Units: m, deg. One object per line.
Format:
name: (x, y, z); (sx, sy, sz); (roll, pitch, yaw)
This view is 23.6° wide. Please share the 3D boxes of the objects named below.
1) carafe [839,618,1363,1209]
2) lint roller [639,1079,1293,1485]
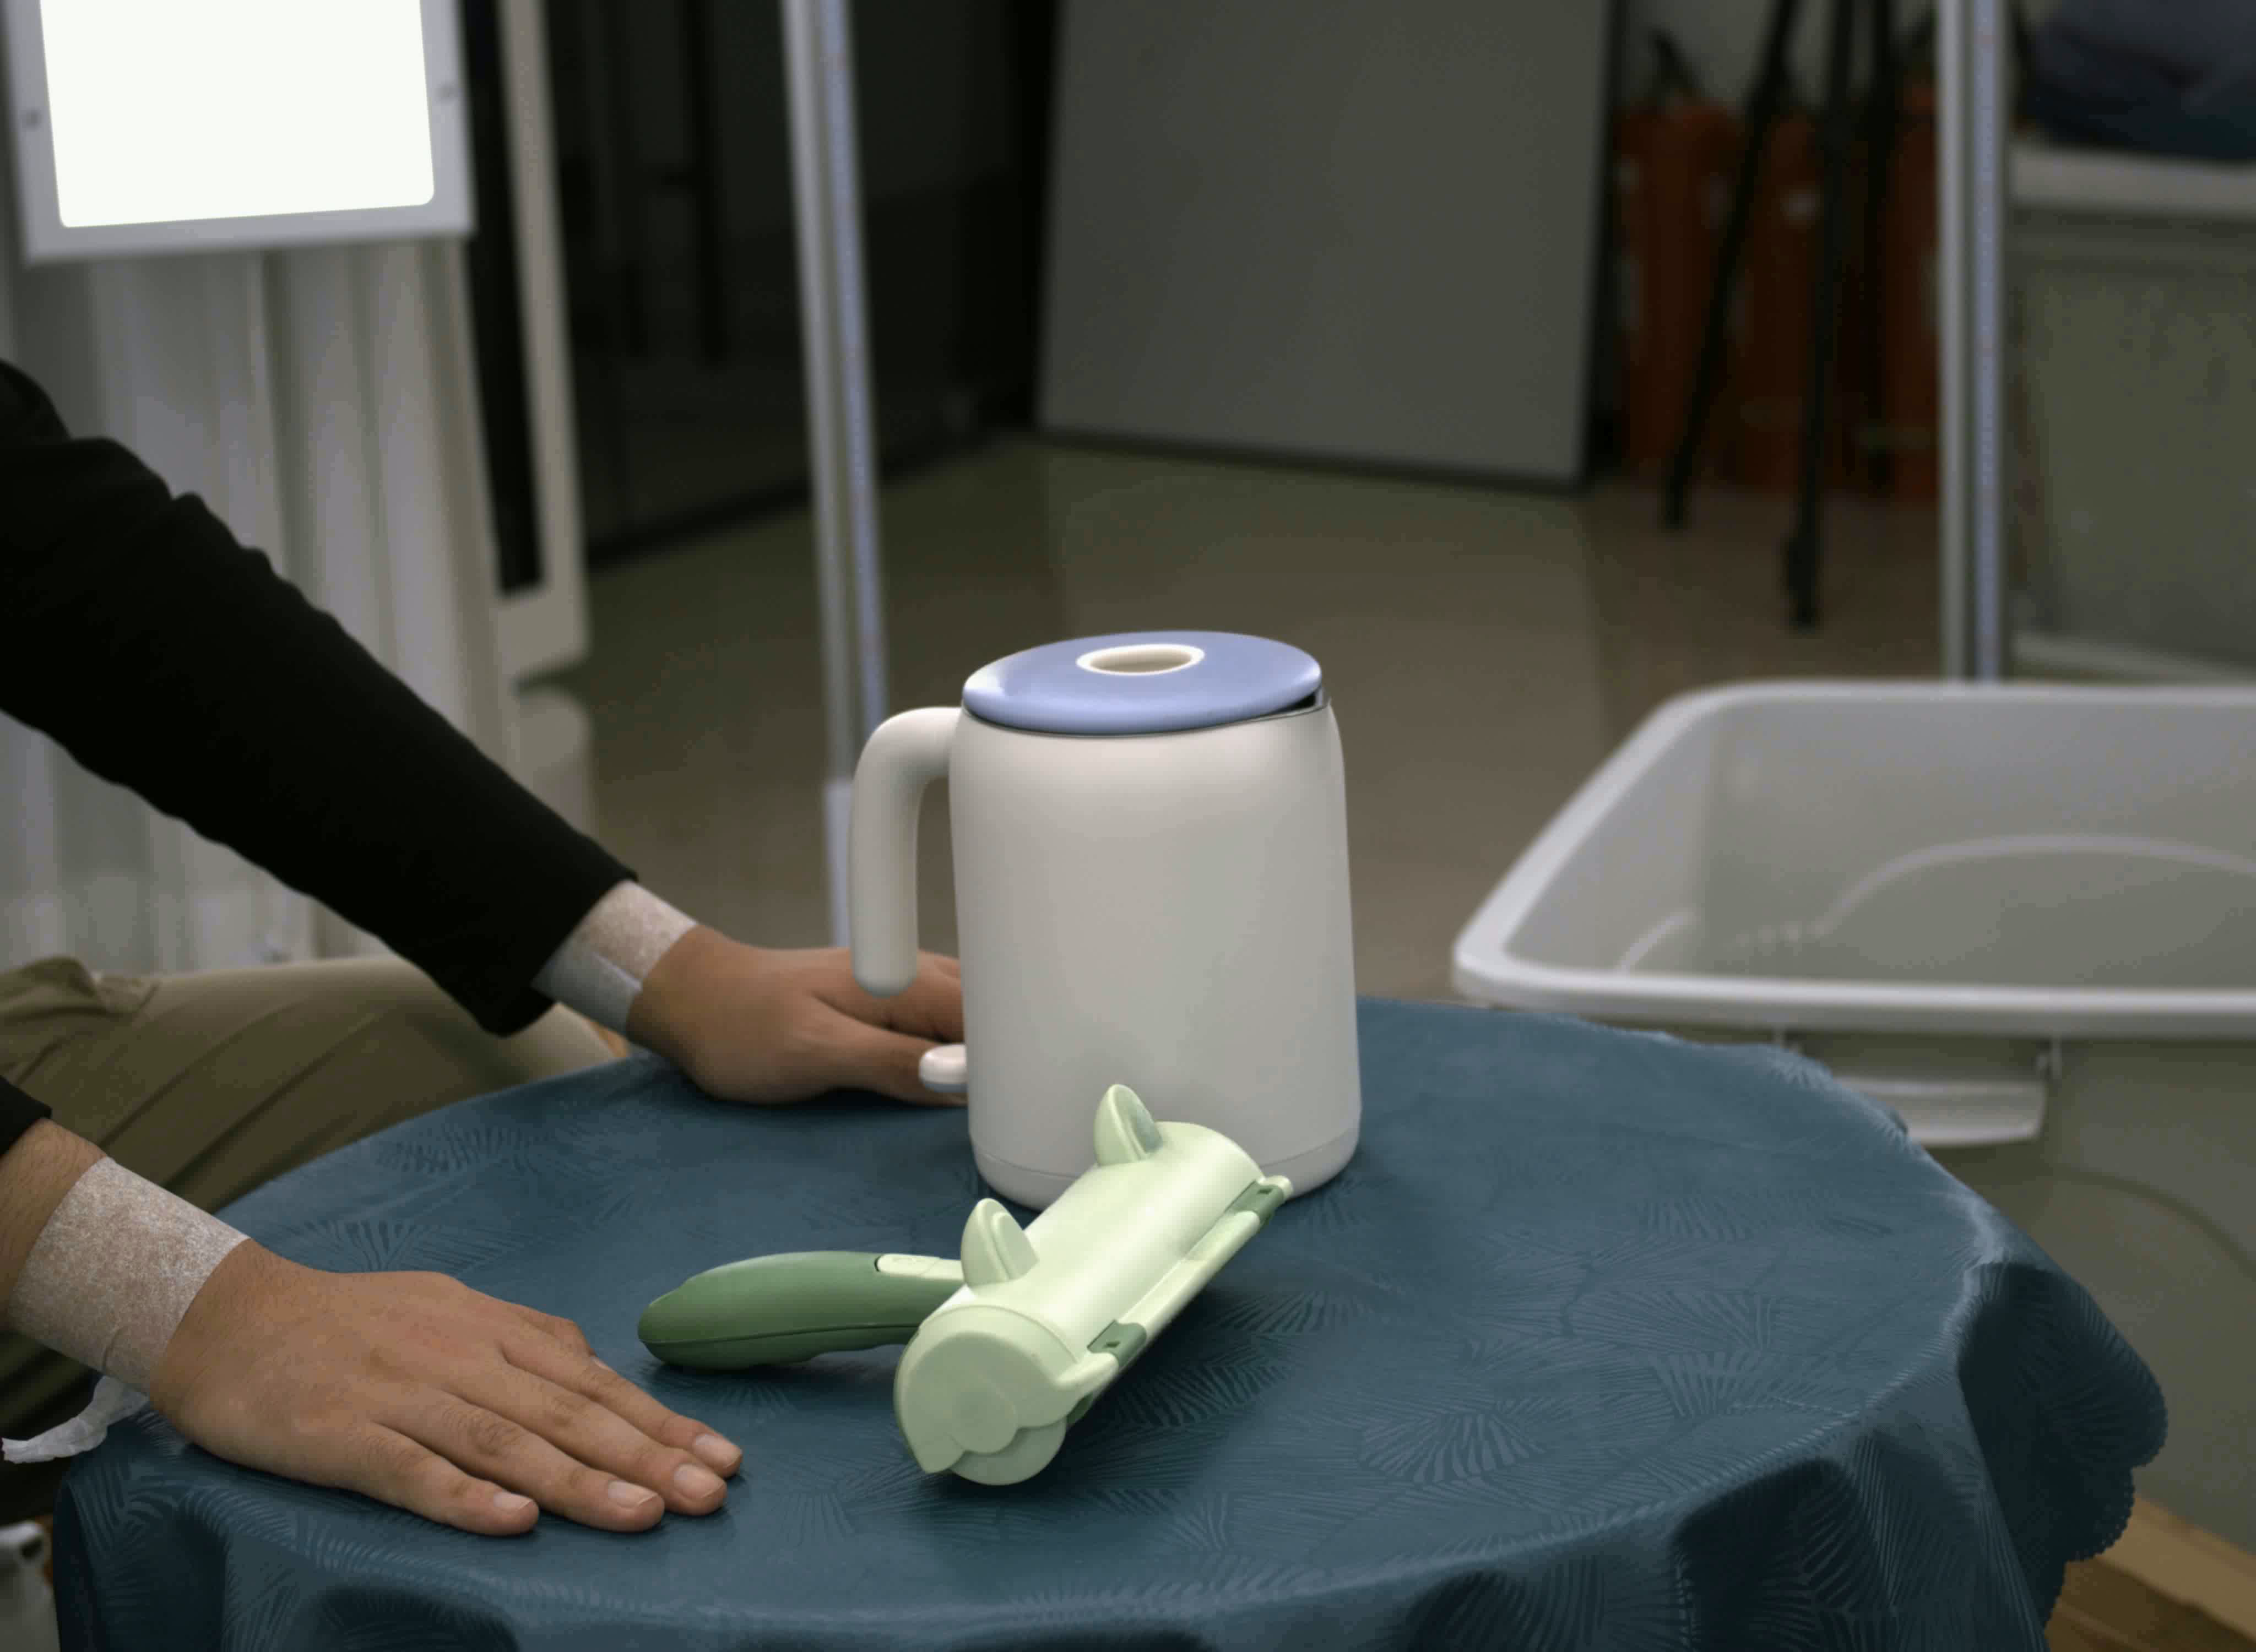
carafe: (-0.013, 0.030, 1.783); (0.192, 0.184, 0.130); (1, 13, 30)
lint roller: (-0.062, 0.128, 1.601); (0.183, 0.083, 0.196); (3, 14, 19)
